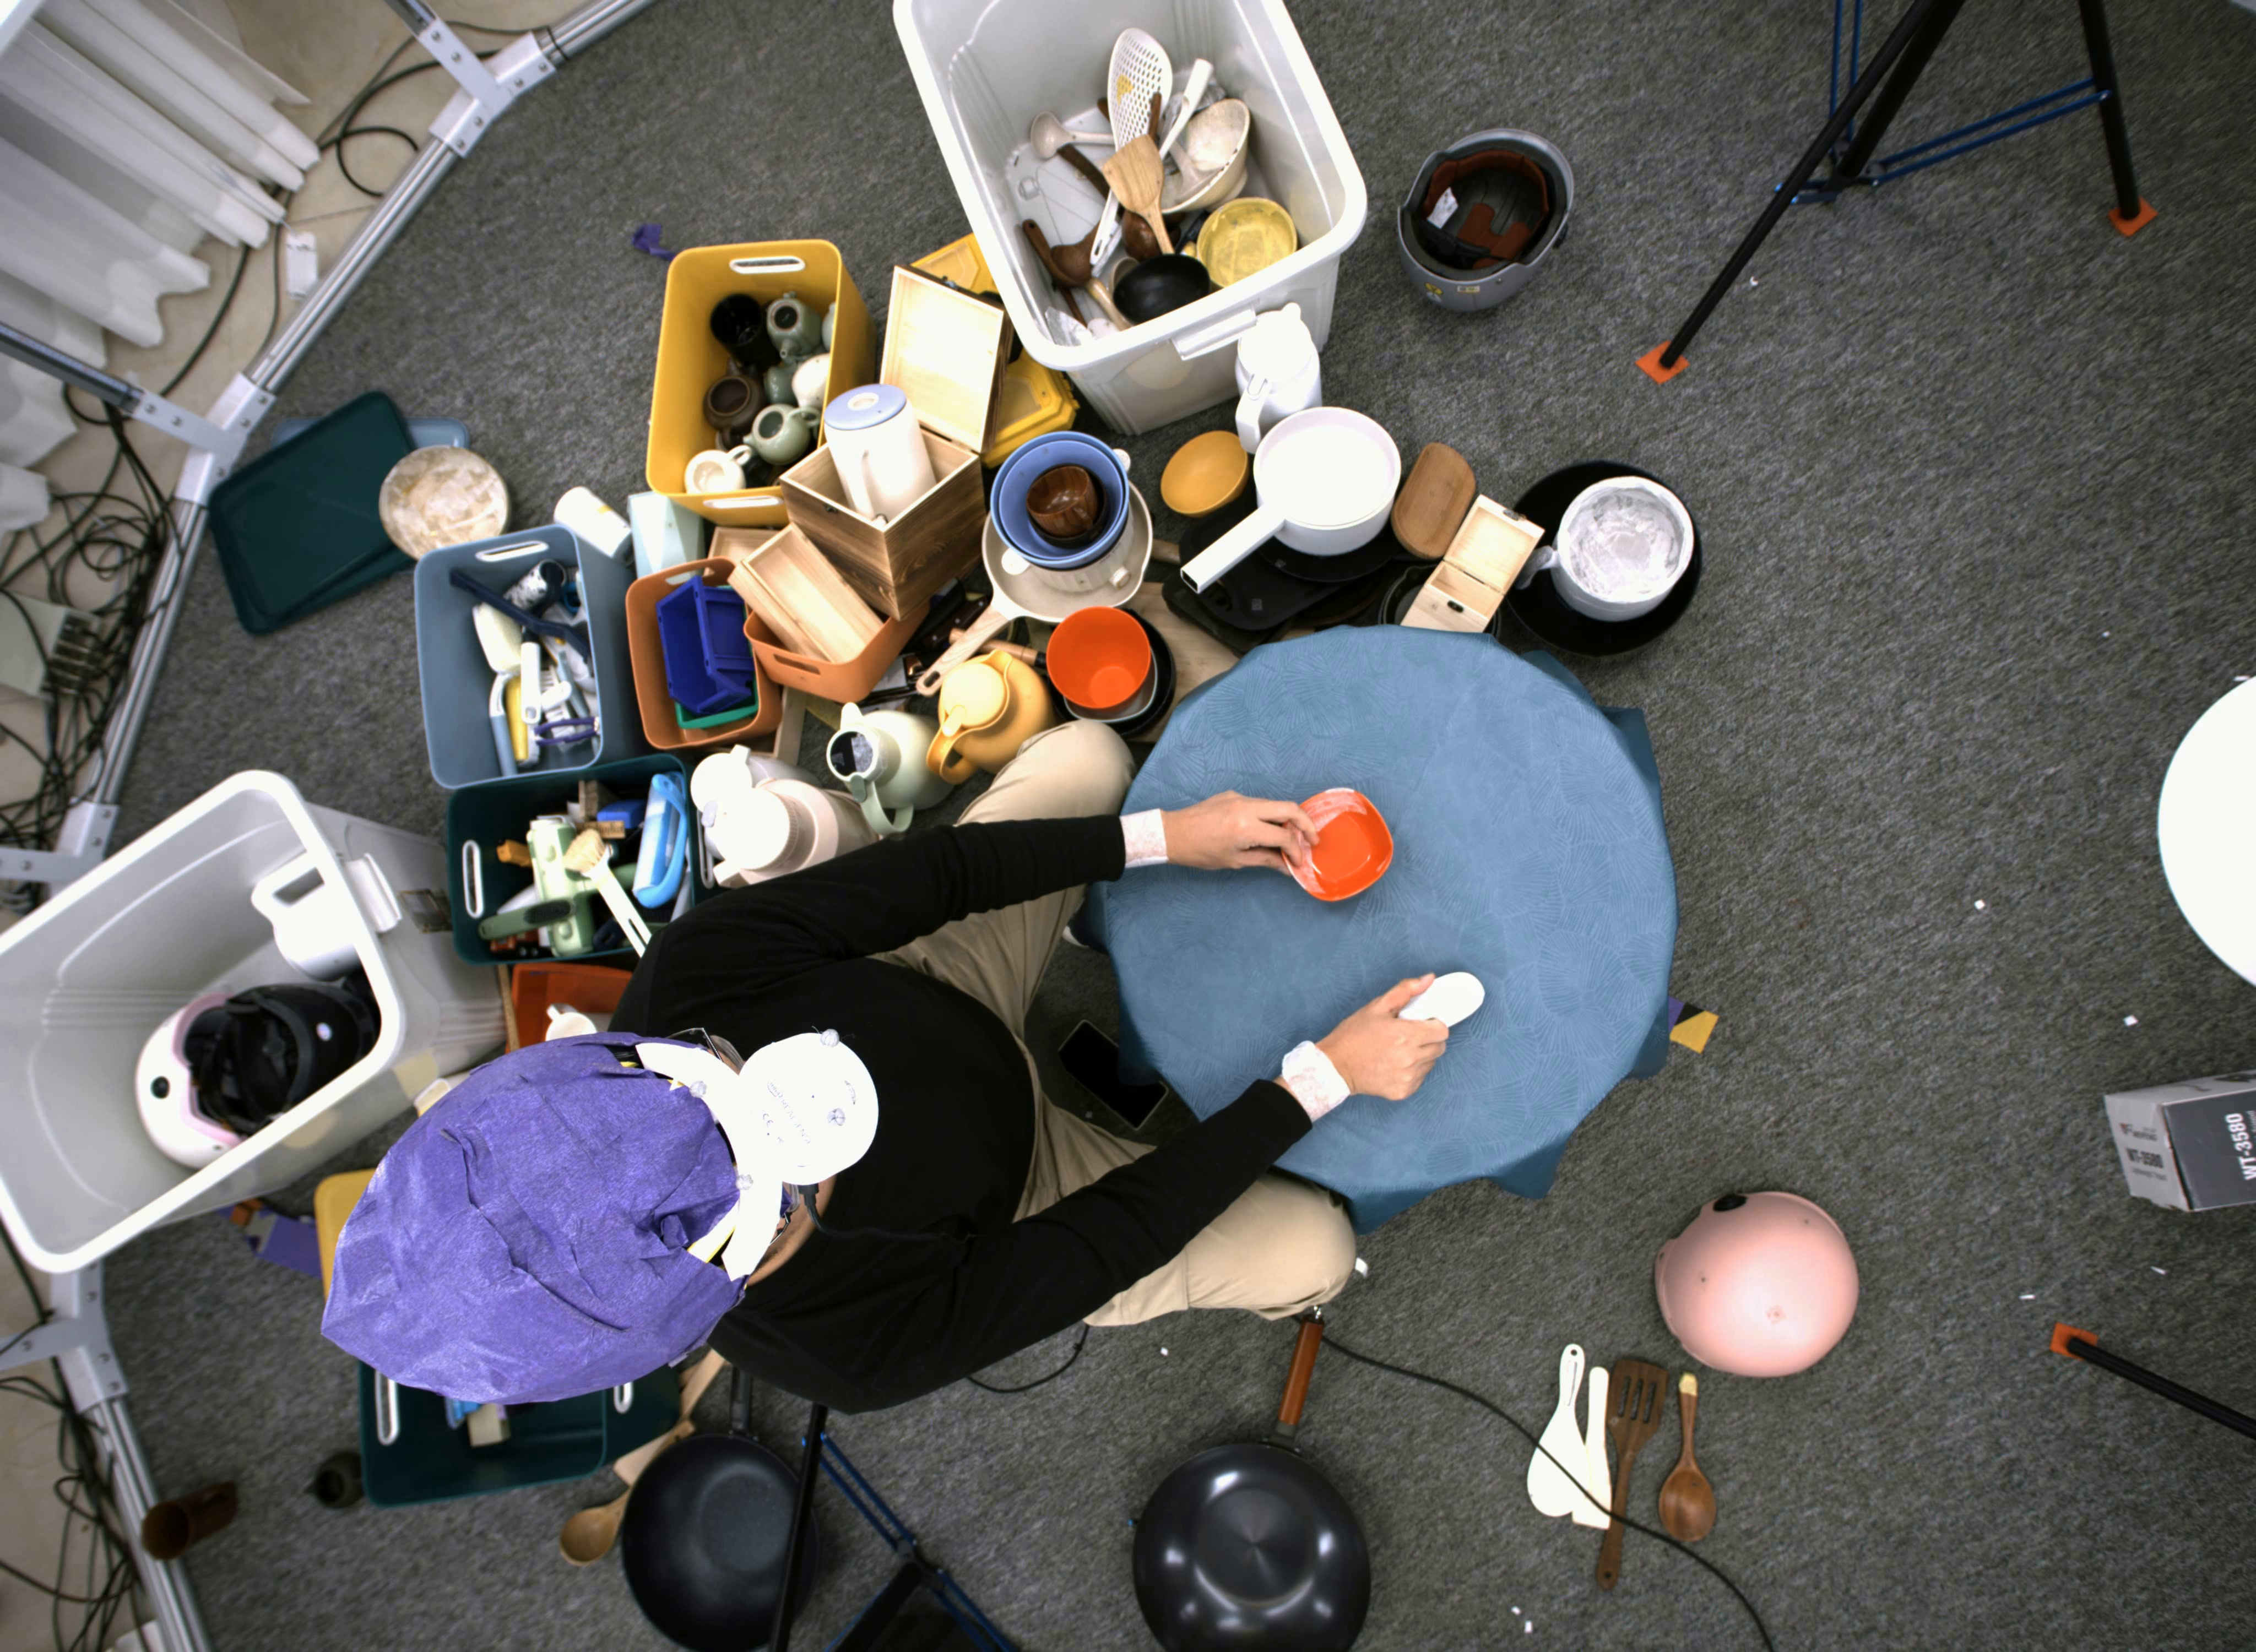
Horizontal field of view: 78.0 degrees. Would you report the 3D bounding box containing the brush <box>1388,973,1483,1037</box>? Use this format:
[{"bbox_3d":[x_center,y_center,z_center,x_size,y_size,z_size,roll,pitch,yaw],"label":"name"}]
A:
[{"bbox_3d":[0.314,0.182,1.408,0.100,0.072,0.050,-23,82,8],"label":"brush"}]

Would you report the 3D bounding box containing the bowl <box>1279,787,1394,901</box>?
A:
[{"bbox_3d":[0.217,0.020,1.446,0.119,0.051,0.118,-1,86,7],"label":"bowl"}]
